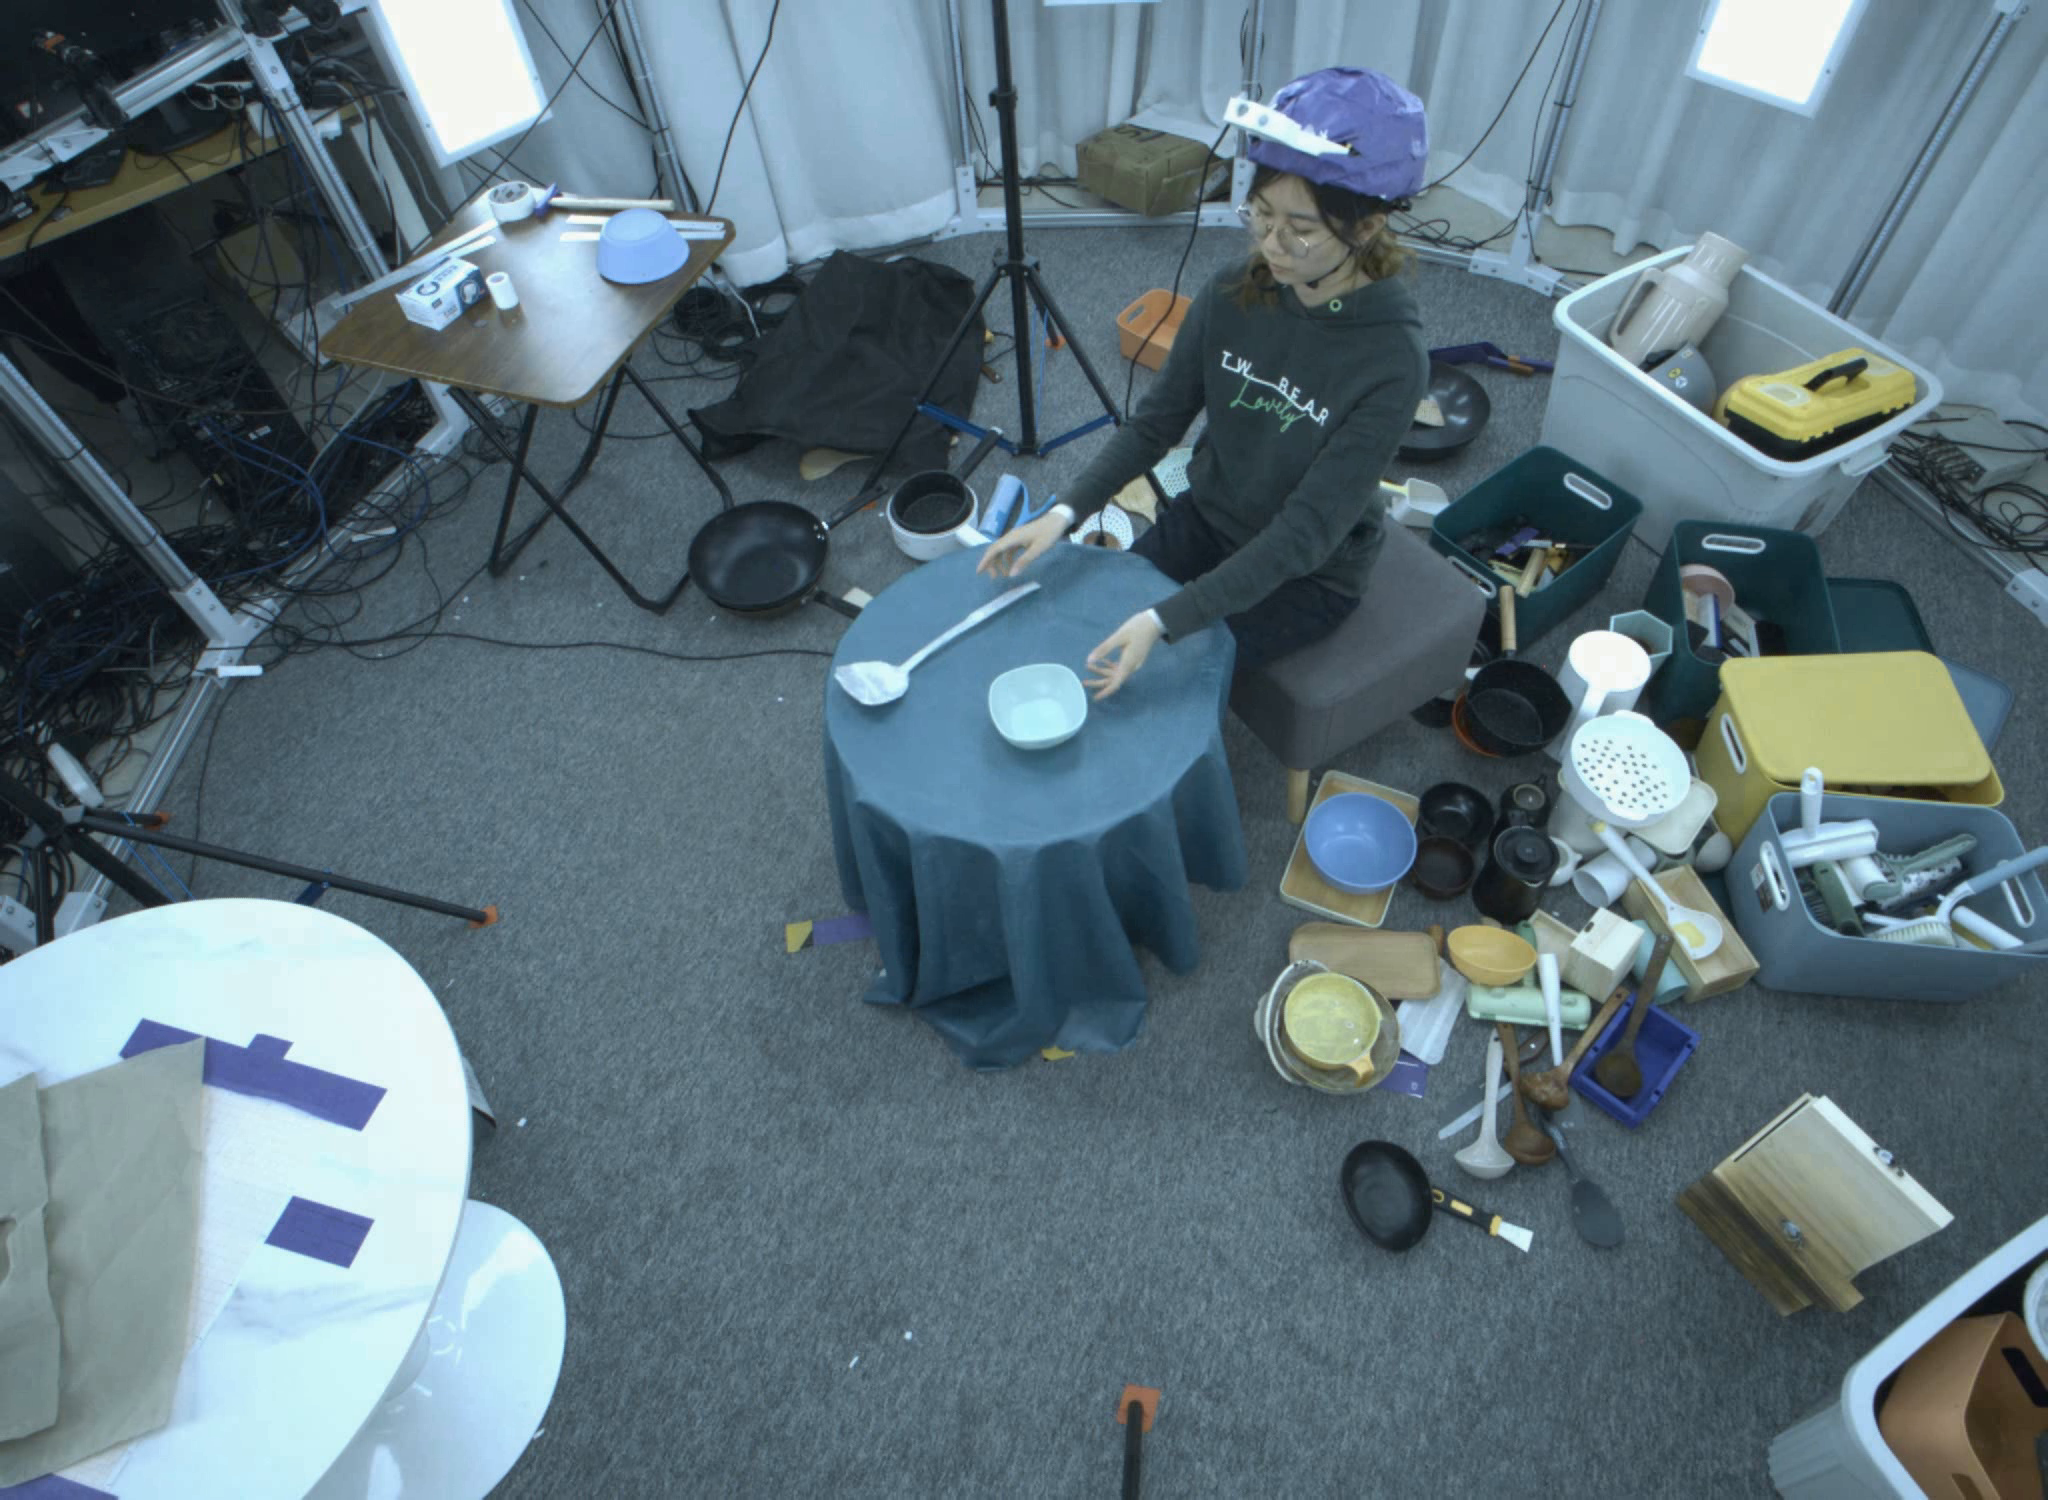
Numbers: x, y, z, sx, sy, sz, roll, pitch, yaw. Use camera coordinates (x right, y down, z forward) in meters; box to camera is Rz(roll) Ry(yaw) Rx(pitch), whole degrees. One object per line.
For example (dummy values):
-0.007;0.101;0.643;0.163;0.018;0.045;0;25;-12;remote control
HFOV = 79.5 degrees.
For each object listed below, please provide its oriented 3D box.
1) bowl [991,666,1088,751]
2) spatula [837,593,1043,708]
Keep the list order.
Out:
0.025;-0.050;1.799;0.151;0.059;0.150;-1;57;3;bowl
-0.121;-0.168;1.896;0.368;0.045;0.097;-34;59;-20;spatula
